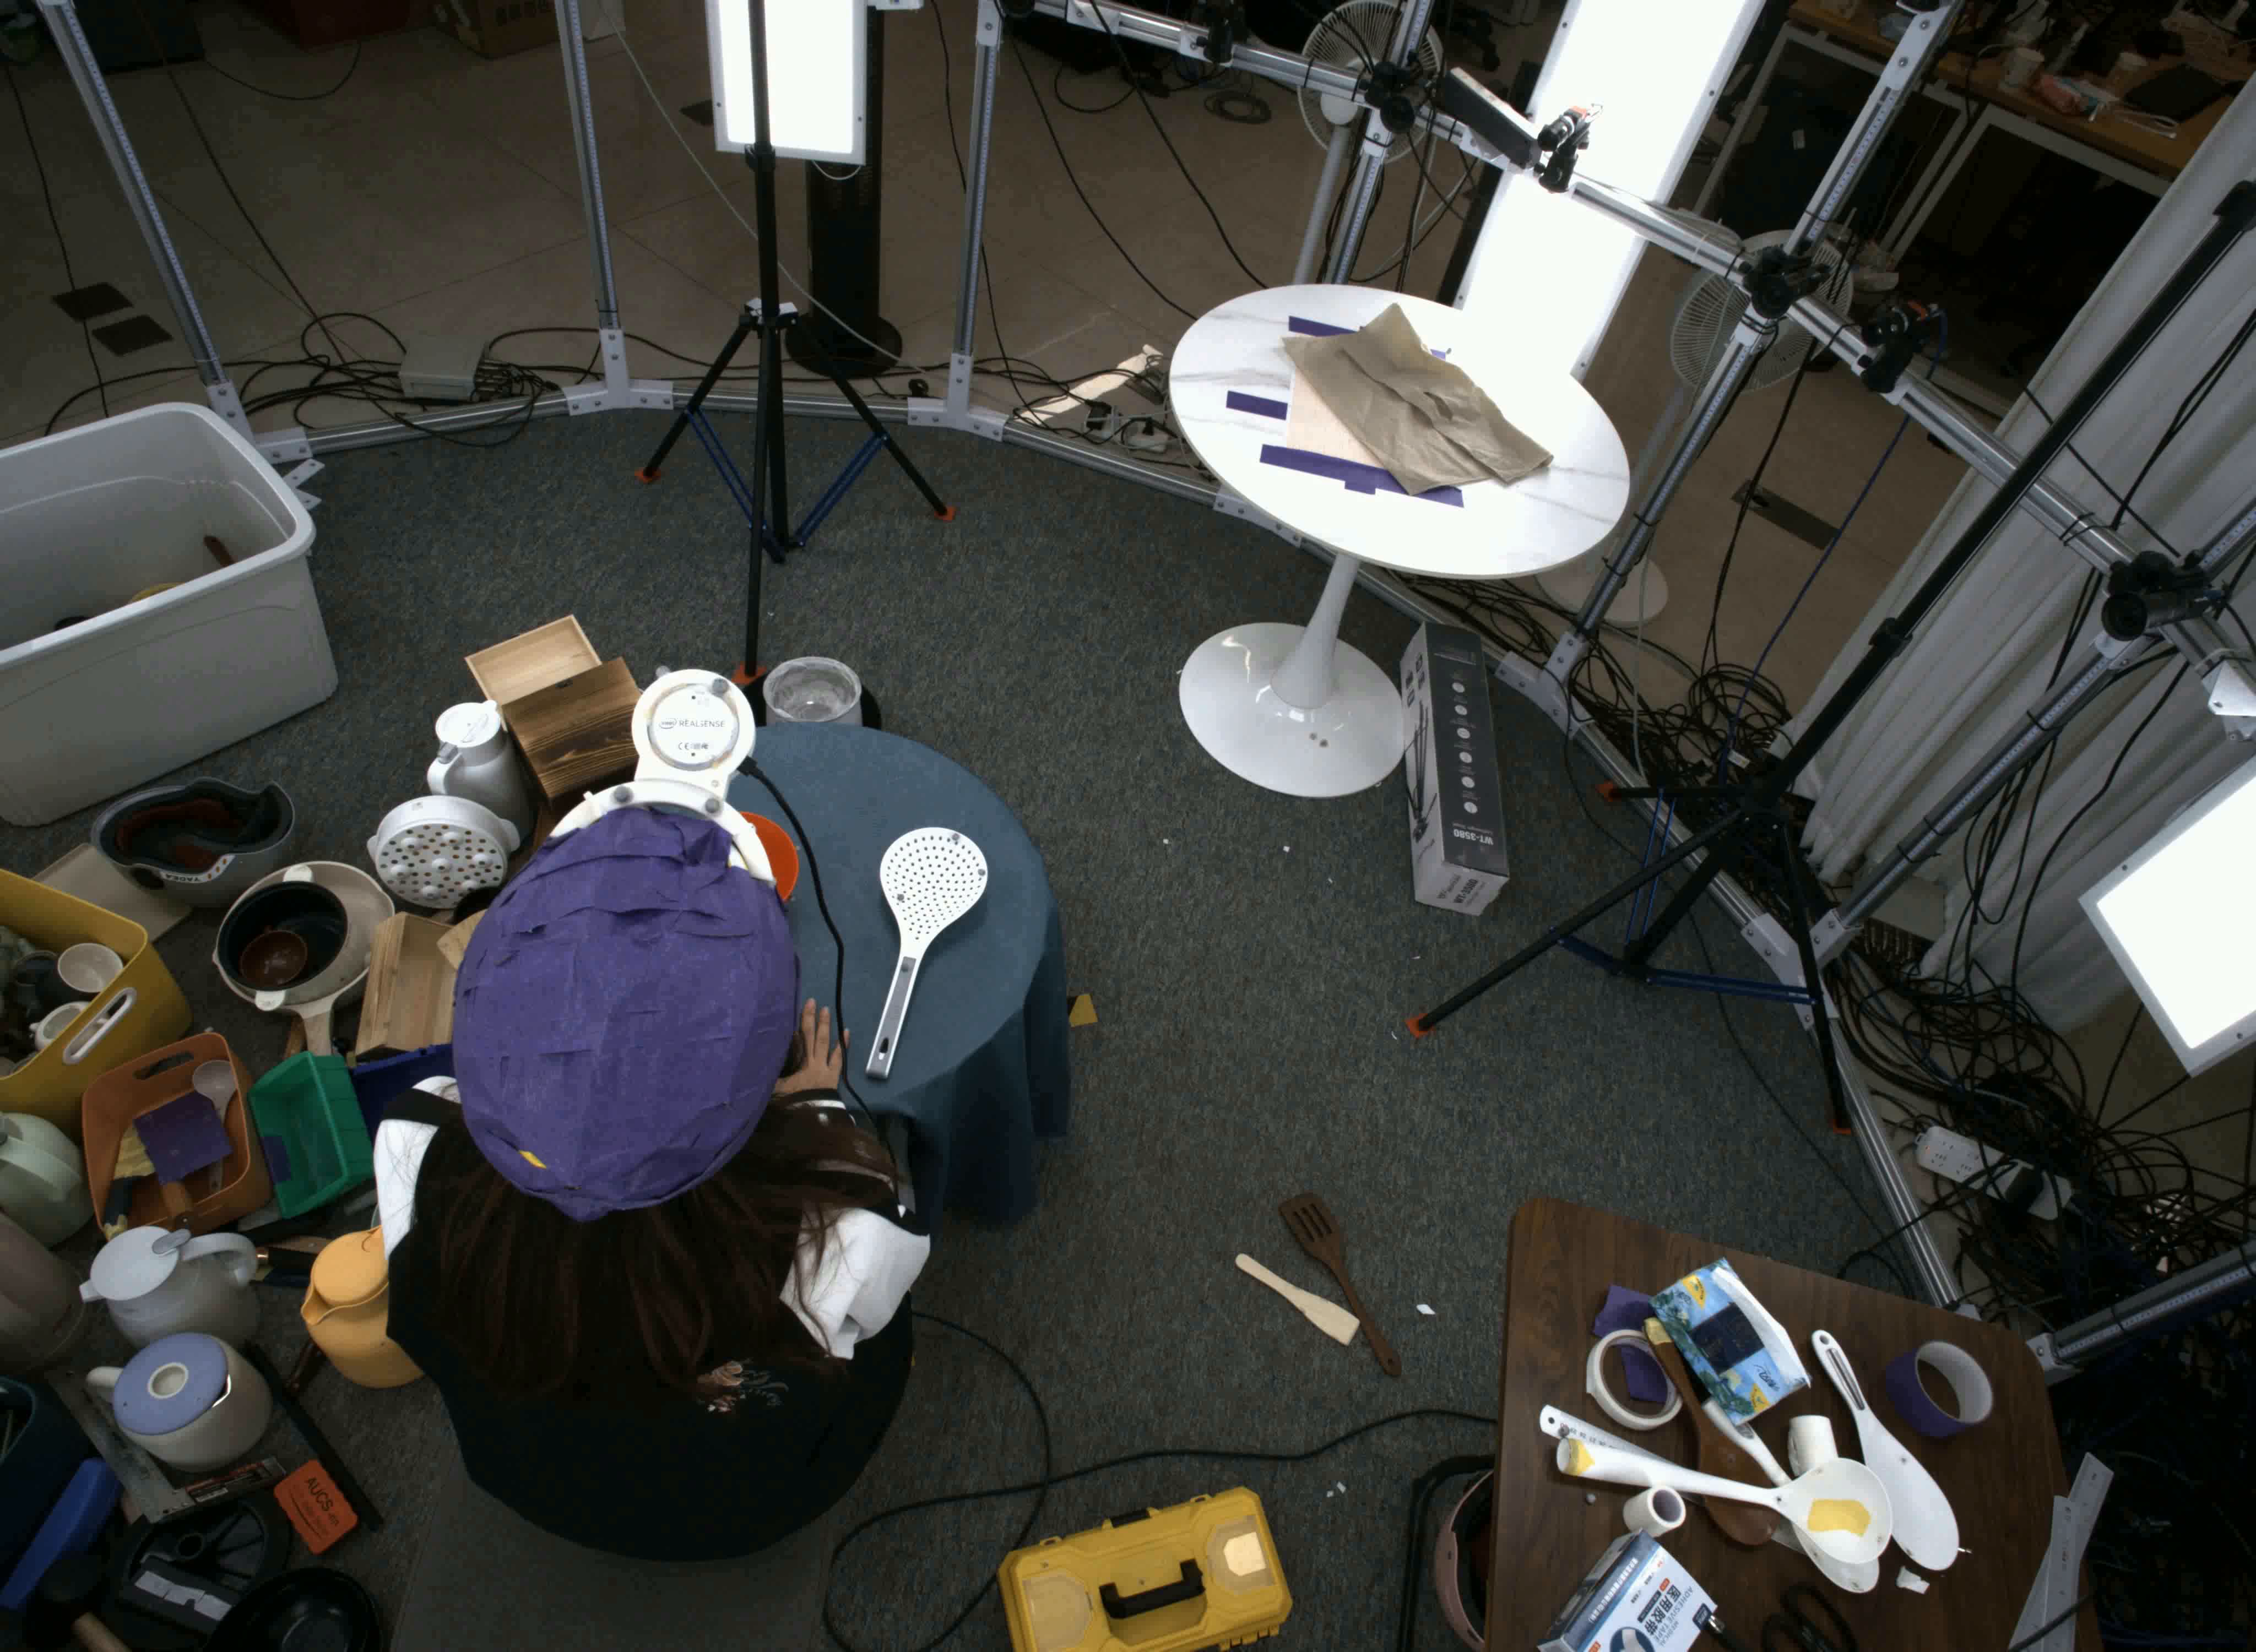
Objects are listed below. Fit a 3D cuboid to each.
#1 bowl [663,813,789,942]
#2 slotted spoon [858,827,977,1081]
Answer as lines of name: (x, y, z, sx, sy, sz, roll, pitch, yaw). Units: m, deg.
bowl: (-0.490, 0.073, 1.582, 0.148, 0.106, 0.145, 9, 52, -9)
slotted spoon: (-0.278, 0.150, 1.616, 0.135, 0.046, 0.344, 12, 52, -3)
